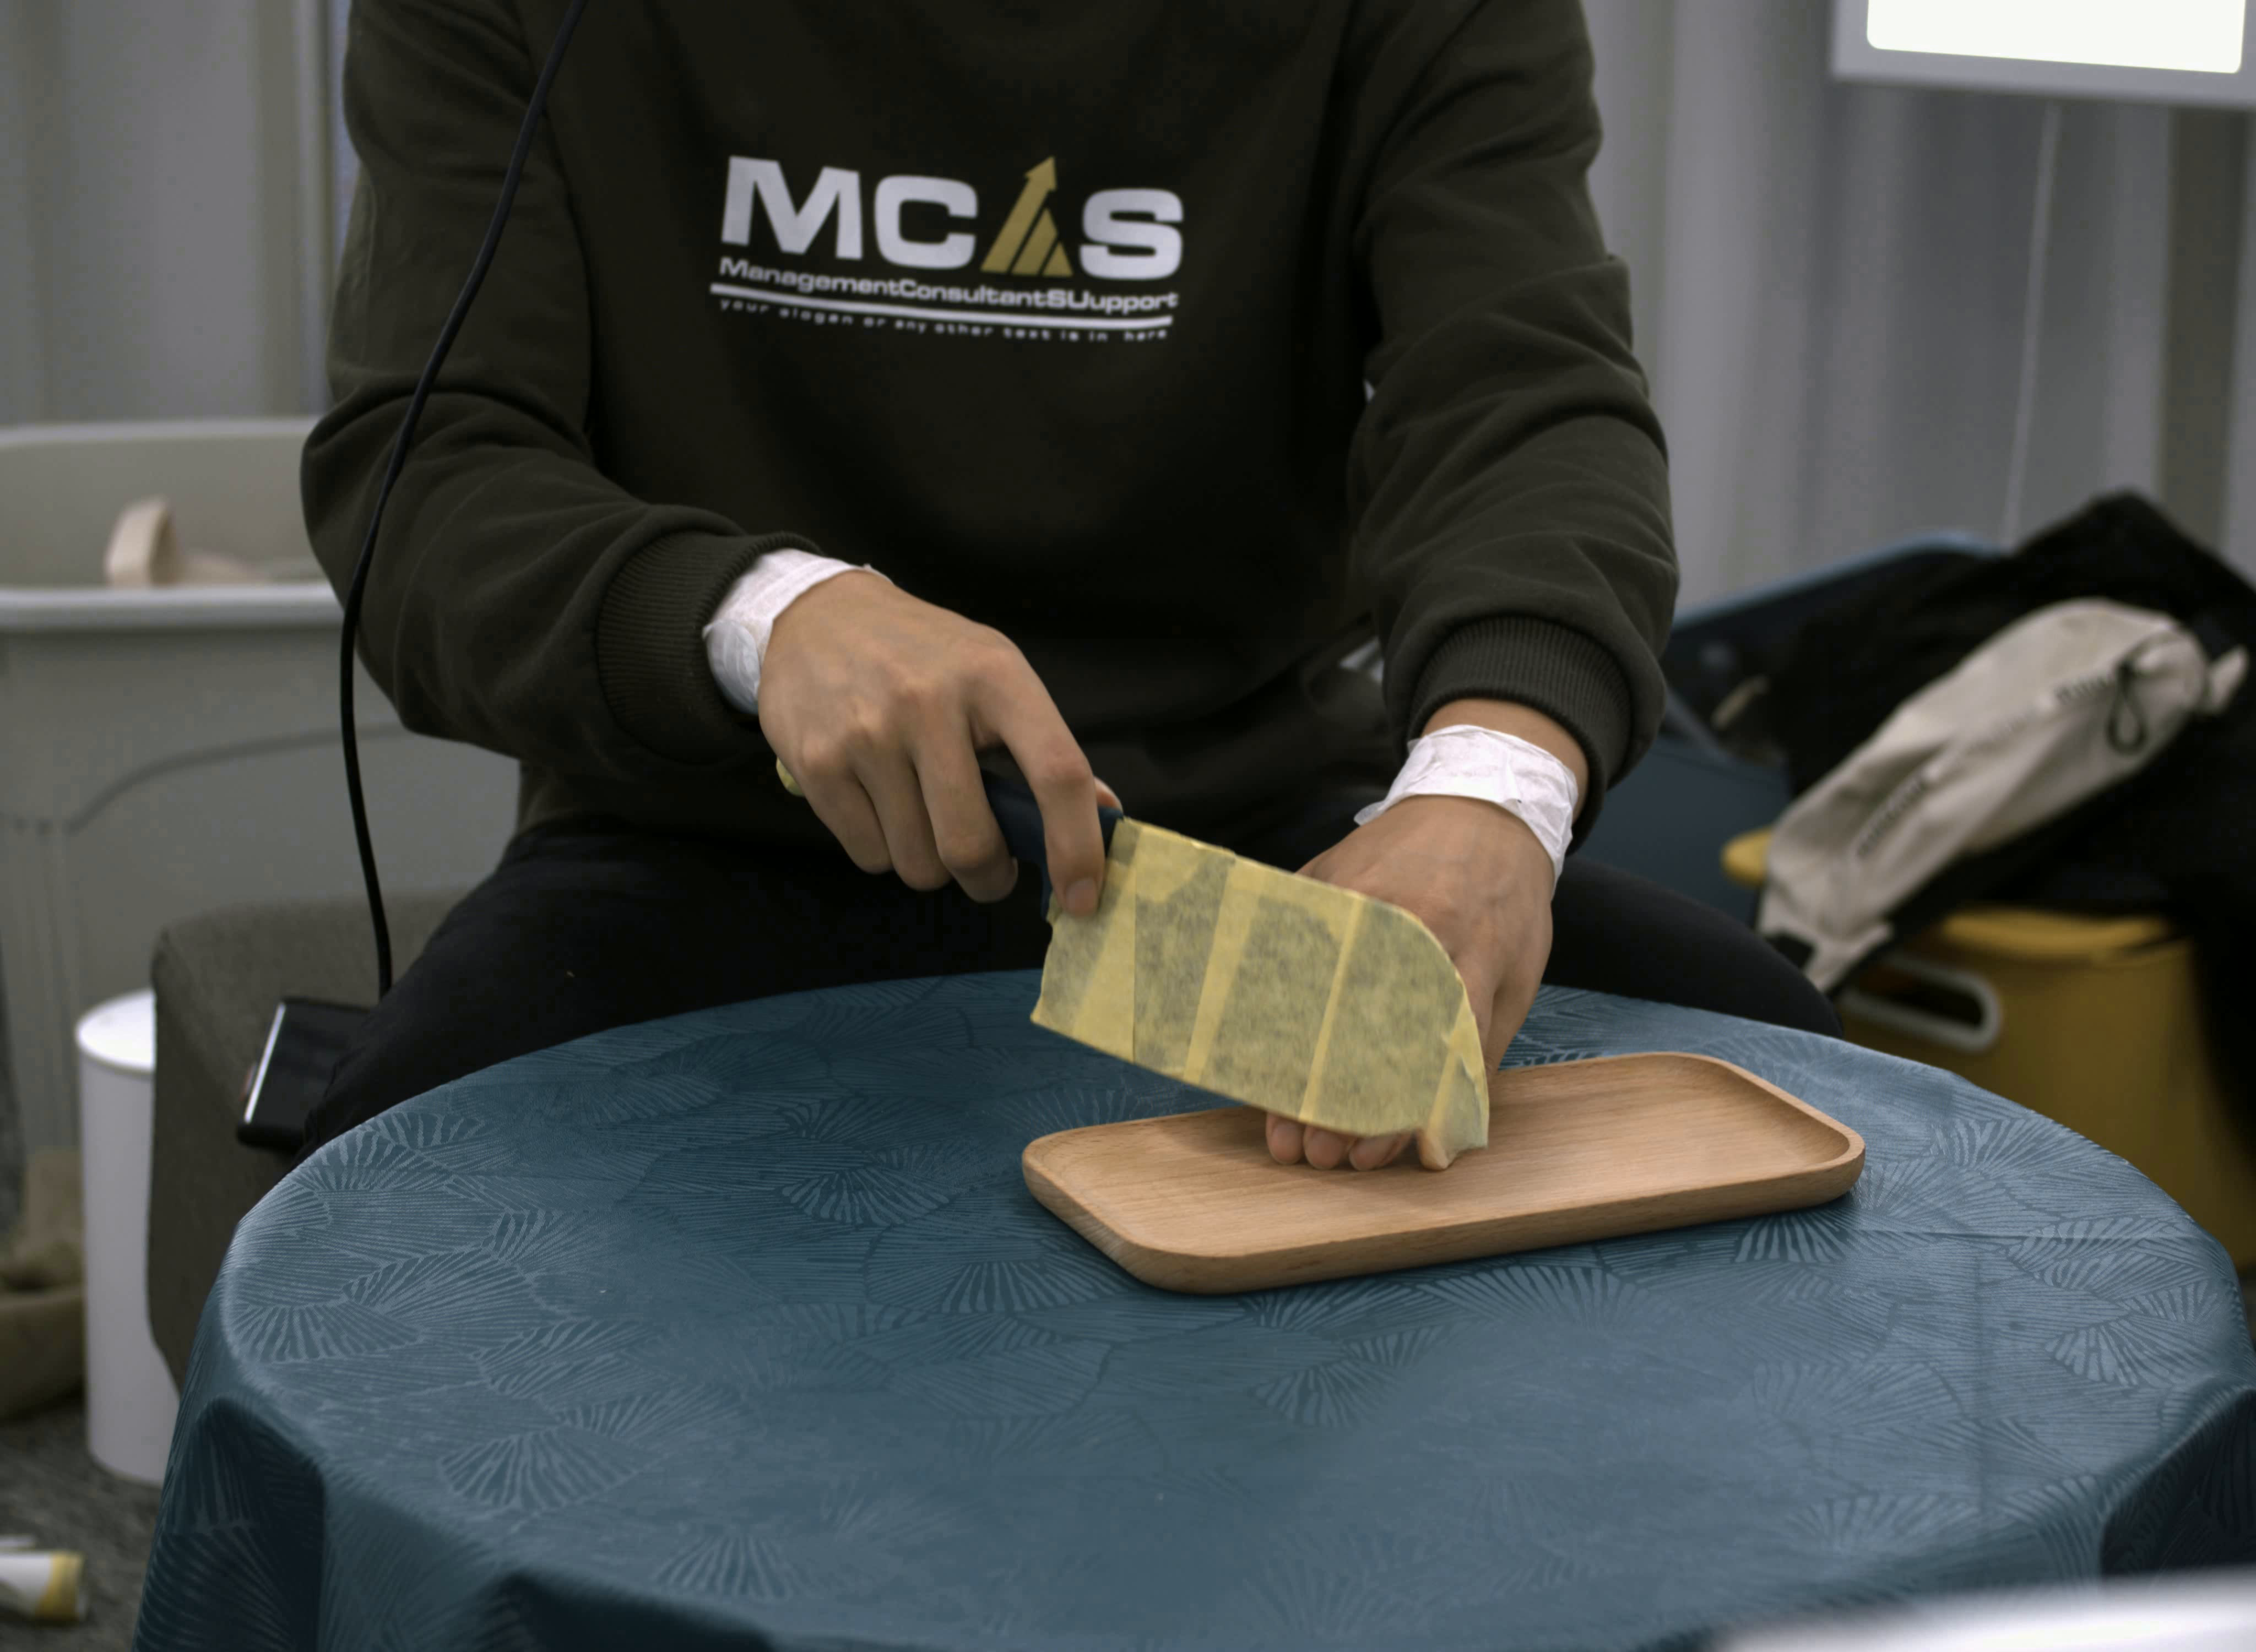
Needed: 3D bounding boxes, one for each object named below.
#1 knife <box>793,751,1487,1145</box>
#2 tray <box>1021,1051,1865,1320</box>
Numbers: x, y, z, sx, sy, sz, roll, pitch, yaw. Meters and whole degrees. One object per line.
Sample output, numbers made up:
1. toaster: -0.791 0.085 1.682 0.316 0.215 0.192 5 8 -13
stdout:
1. knife: -0.001 0.035 1.653 0.285 0.081 0.027 22 8 35
2. tray: 0.098 0.109 1.623 0.251 0.023 0.129 -9 15 -23
